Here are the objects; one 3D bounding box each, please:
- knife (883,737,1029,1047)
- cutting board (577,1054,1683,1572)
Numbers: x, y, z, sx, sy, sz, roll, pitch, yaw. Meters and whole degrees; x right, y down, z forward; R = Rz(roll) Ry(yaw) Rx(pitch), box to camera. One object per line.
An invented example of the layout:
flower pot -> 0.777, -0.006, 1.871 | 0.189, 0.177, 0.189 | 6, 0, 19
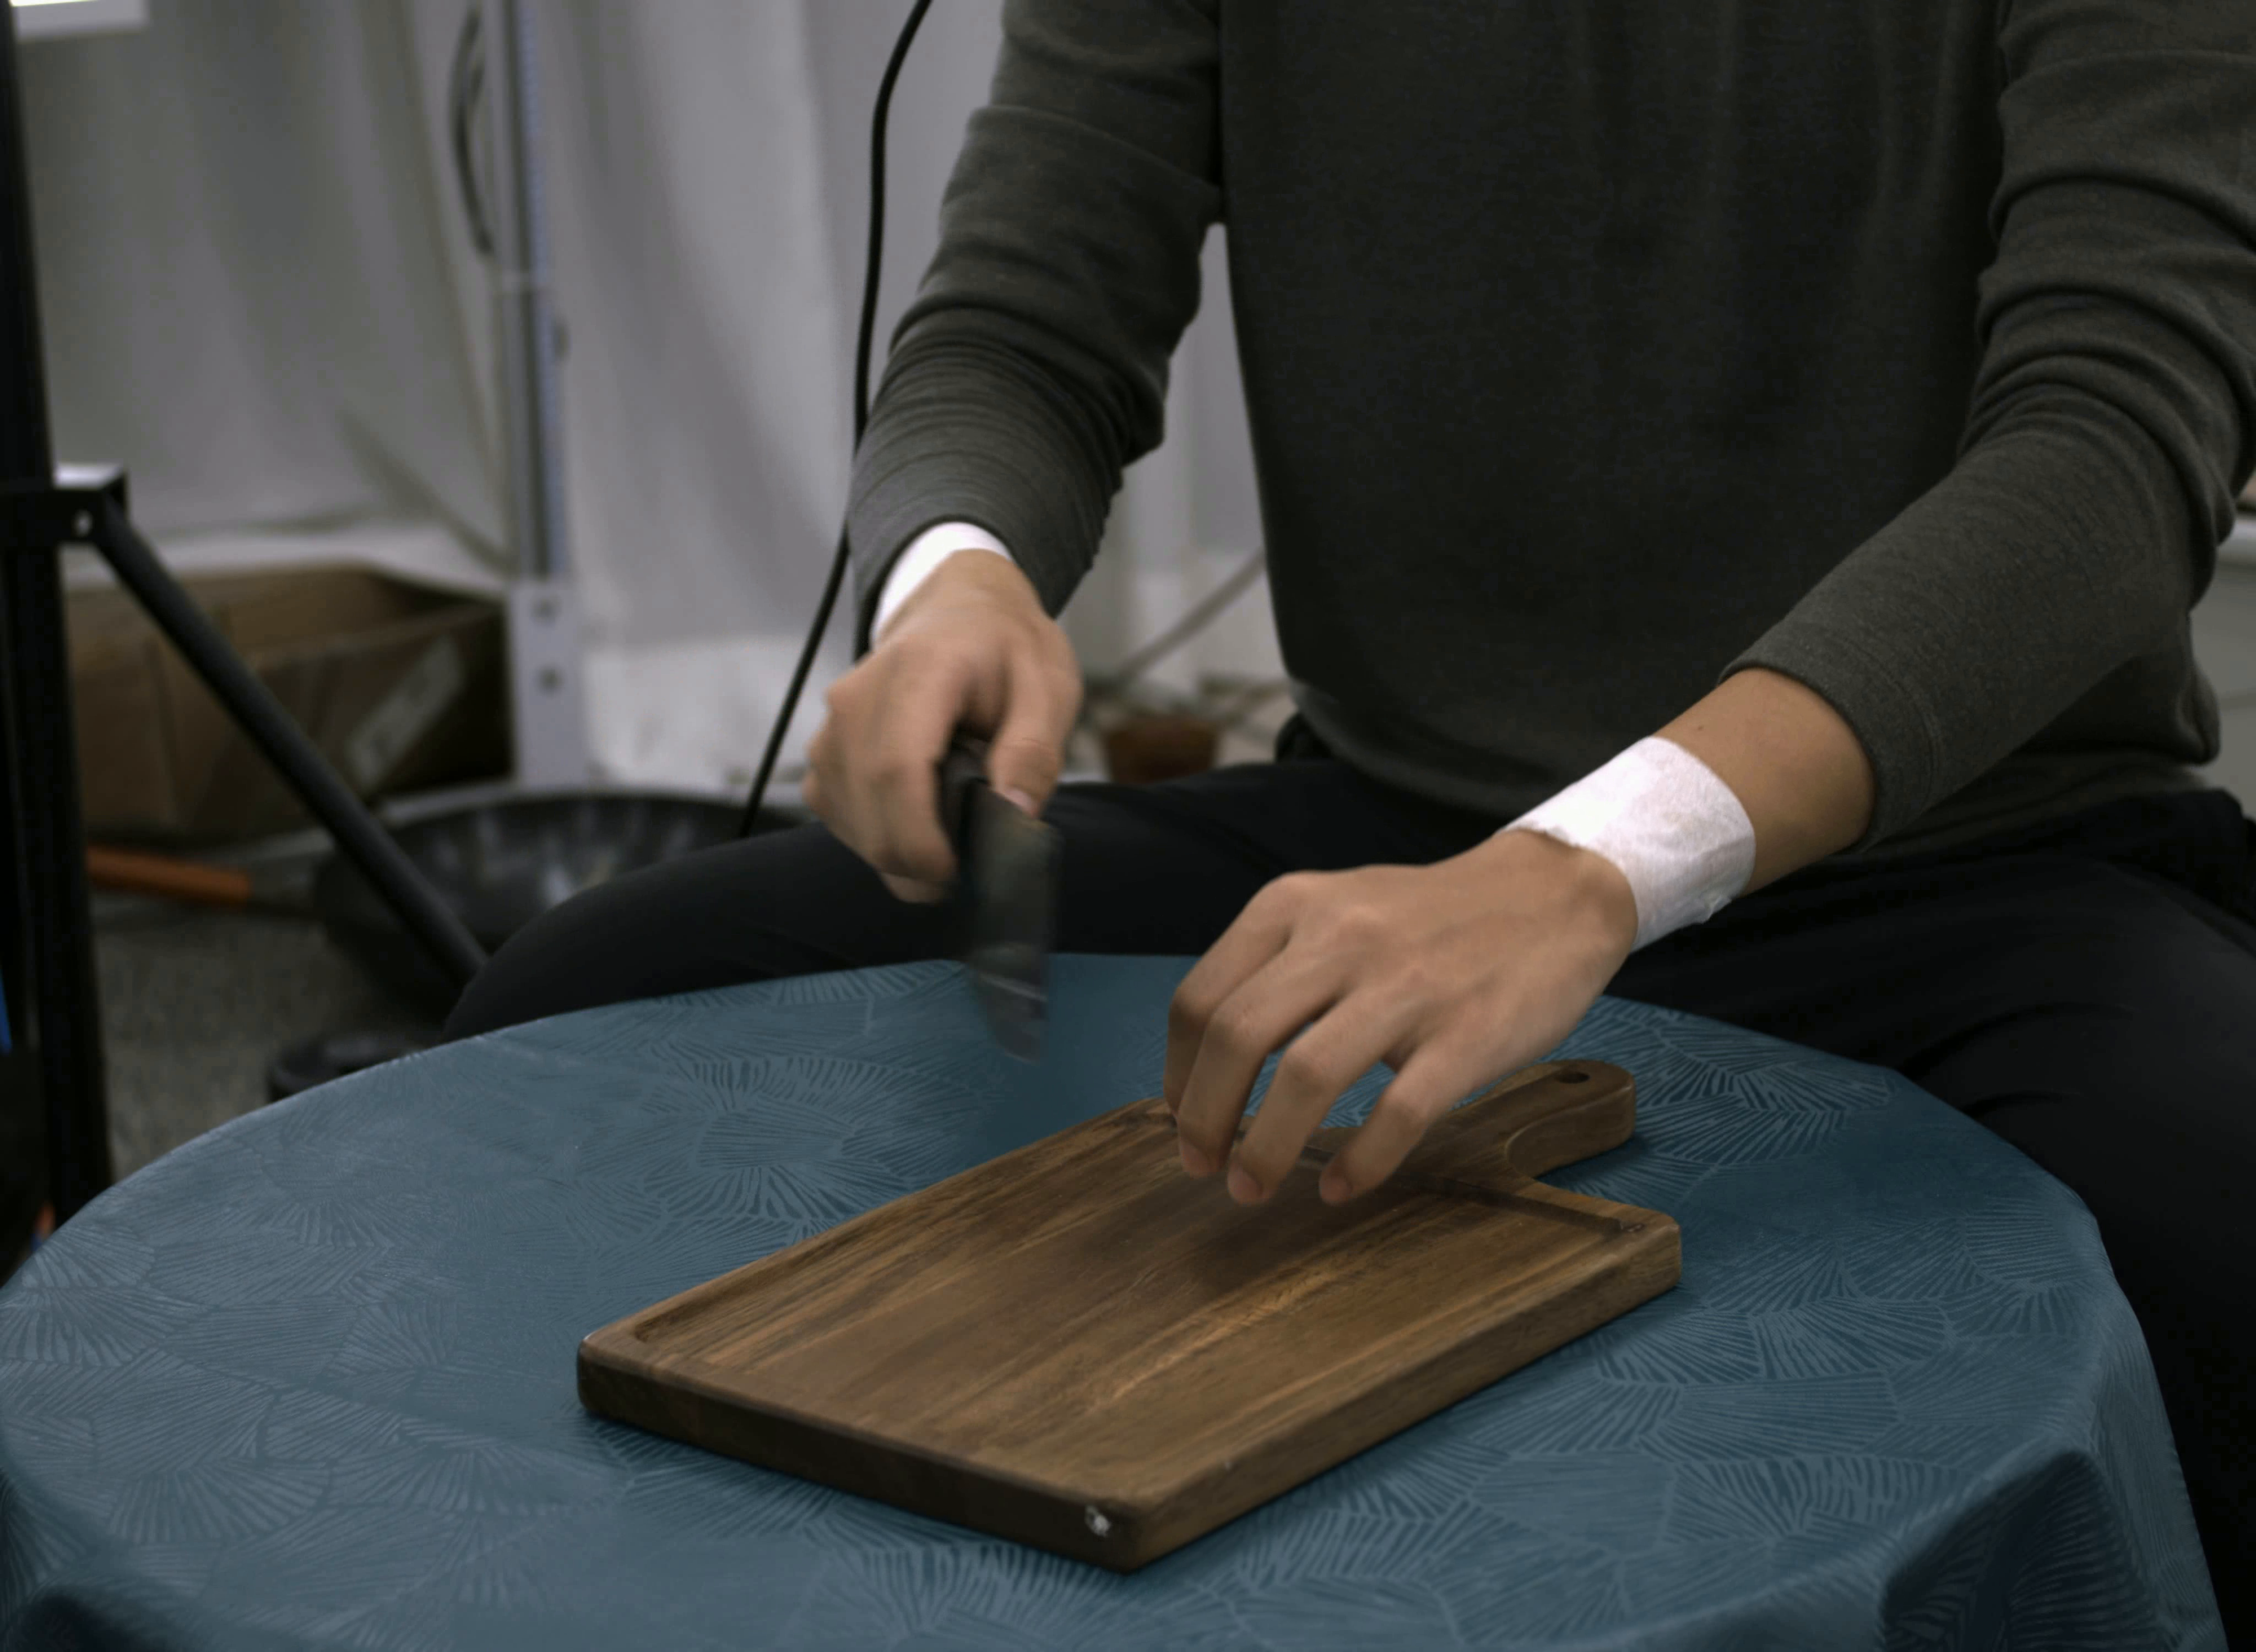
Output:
knife -> -0.047, 0.013, 1.496 | 0.020, 0.081, 0.304 | 6, 8, -8
cutting board -> 0.035, 0.120, 1.475 | 0.205, 0.023, 0.344 | 11, 21, 38
